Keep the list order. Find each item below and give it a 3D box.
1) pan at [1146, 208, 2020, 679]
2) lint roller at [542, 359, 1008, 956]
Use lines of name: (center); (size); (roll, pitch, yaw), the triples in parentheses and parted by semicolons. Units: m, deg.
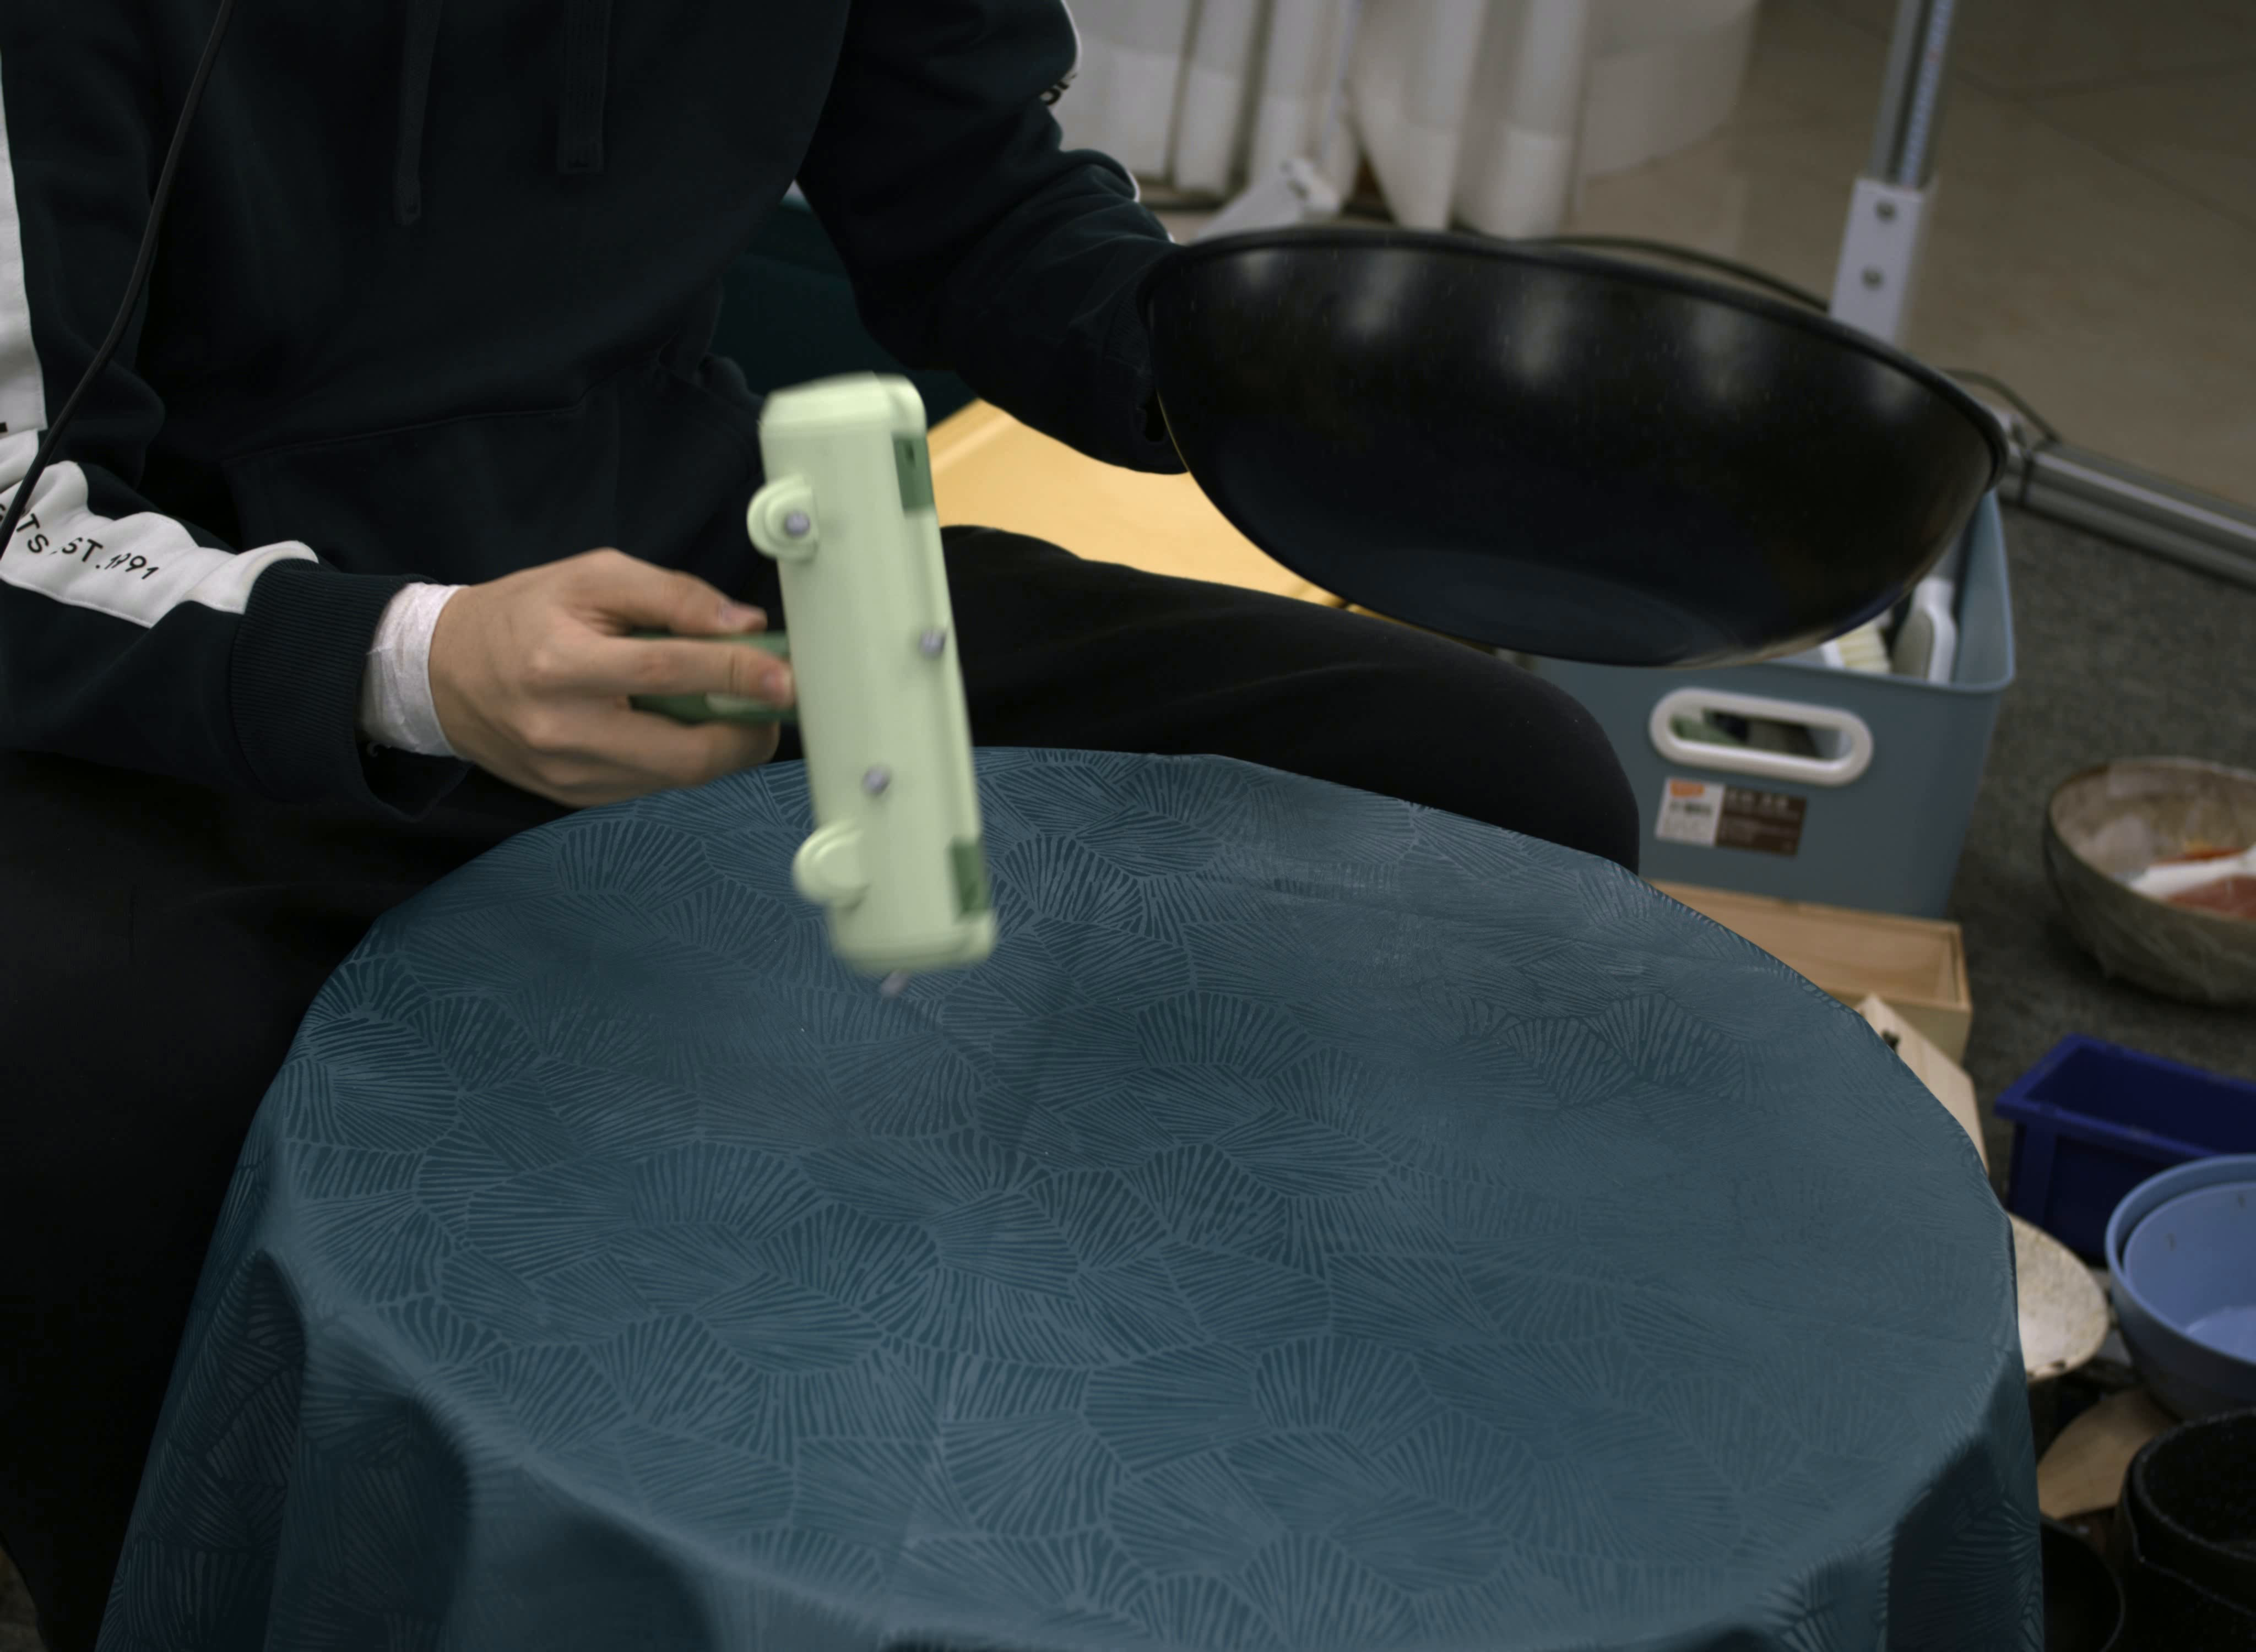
pan: (0.116, -0.121, 1.922); (0.308, 0.112, 0.478); (18, -12, -21)
lint roller: (-0.135, -0.050, 1.795); (0.184, 0.198, 0.082); (-5, 10, 27)
